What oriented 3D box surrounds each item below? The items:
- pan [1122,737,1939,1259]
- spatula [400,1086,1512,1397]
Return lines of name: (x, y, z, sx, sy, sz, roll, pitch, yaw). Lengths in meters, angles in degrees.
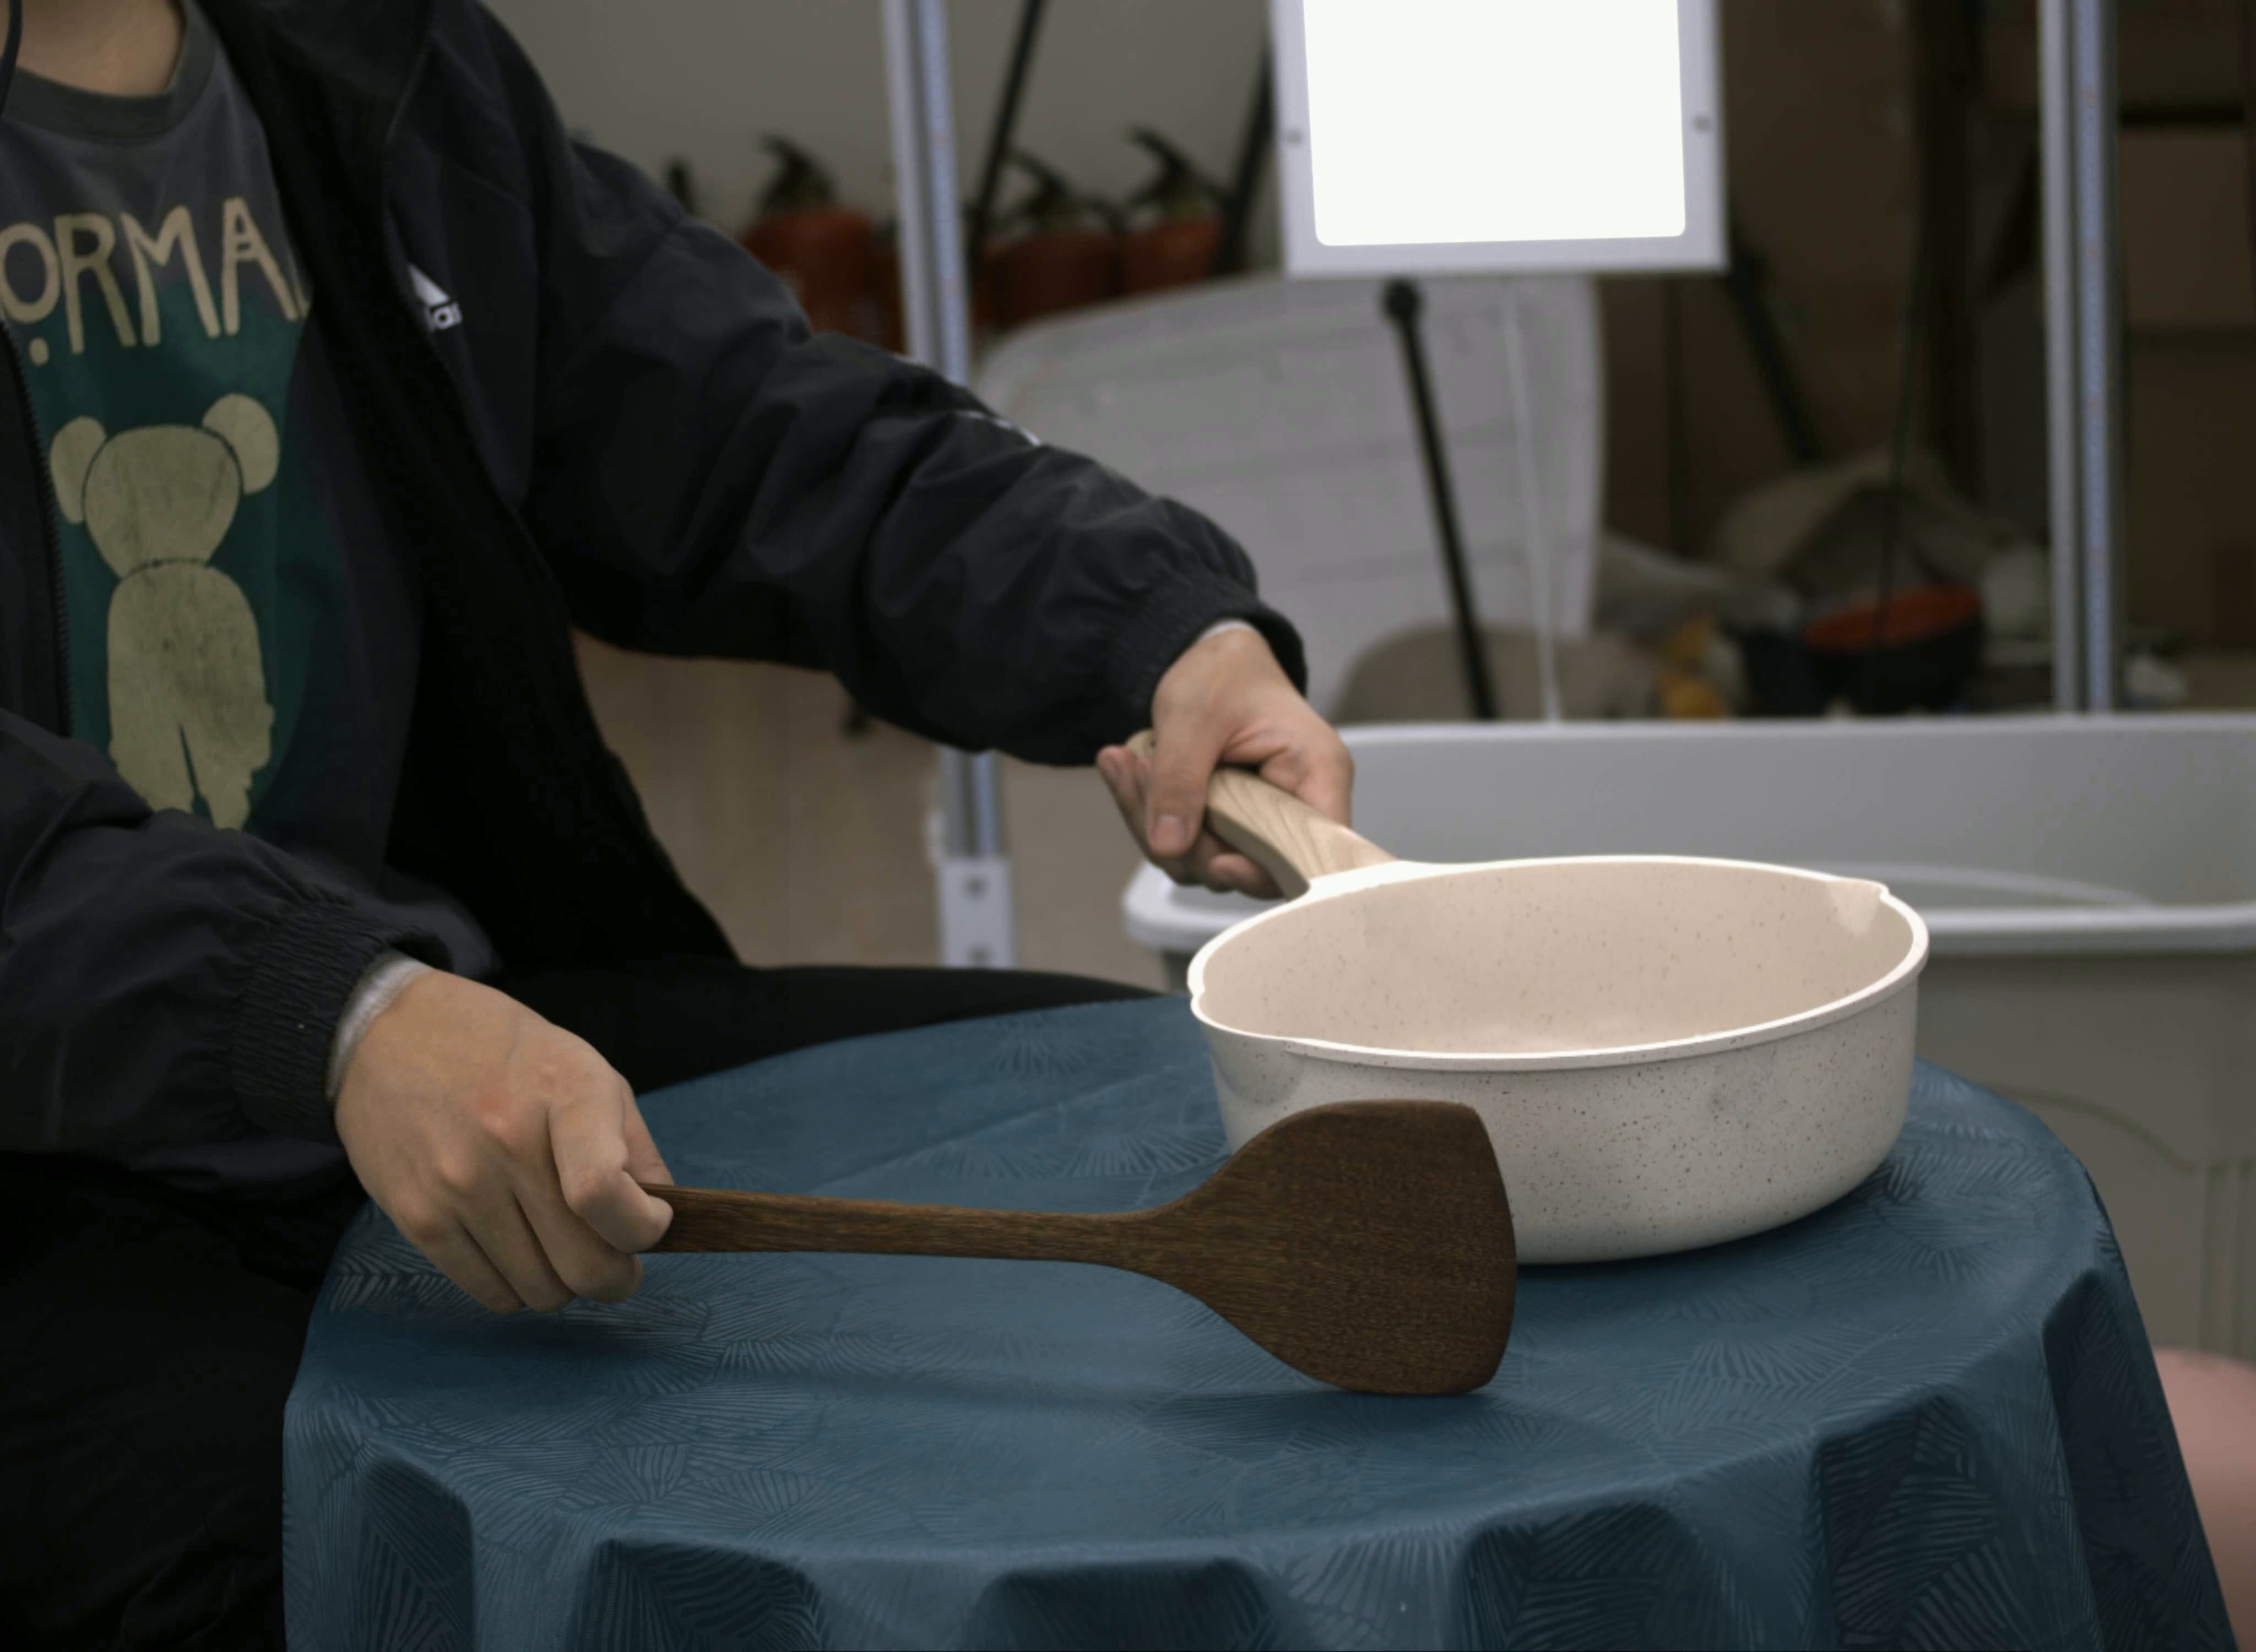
pan: (0.111, 0.053, 1.941, 0.258, 0.102, 0.442, -13, 16, -23)
spatula: (-0.061, 0.126, 1.731, 0.392, 0.096, 0.015, 0, 11, 26)
